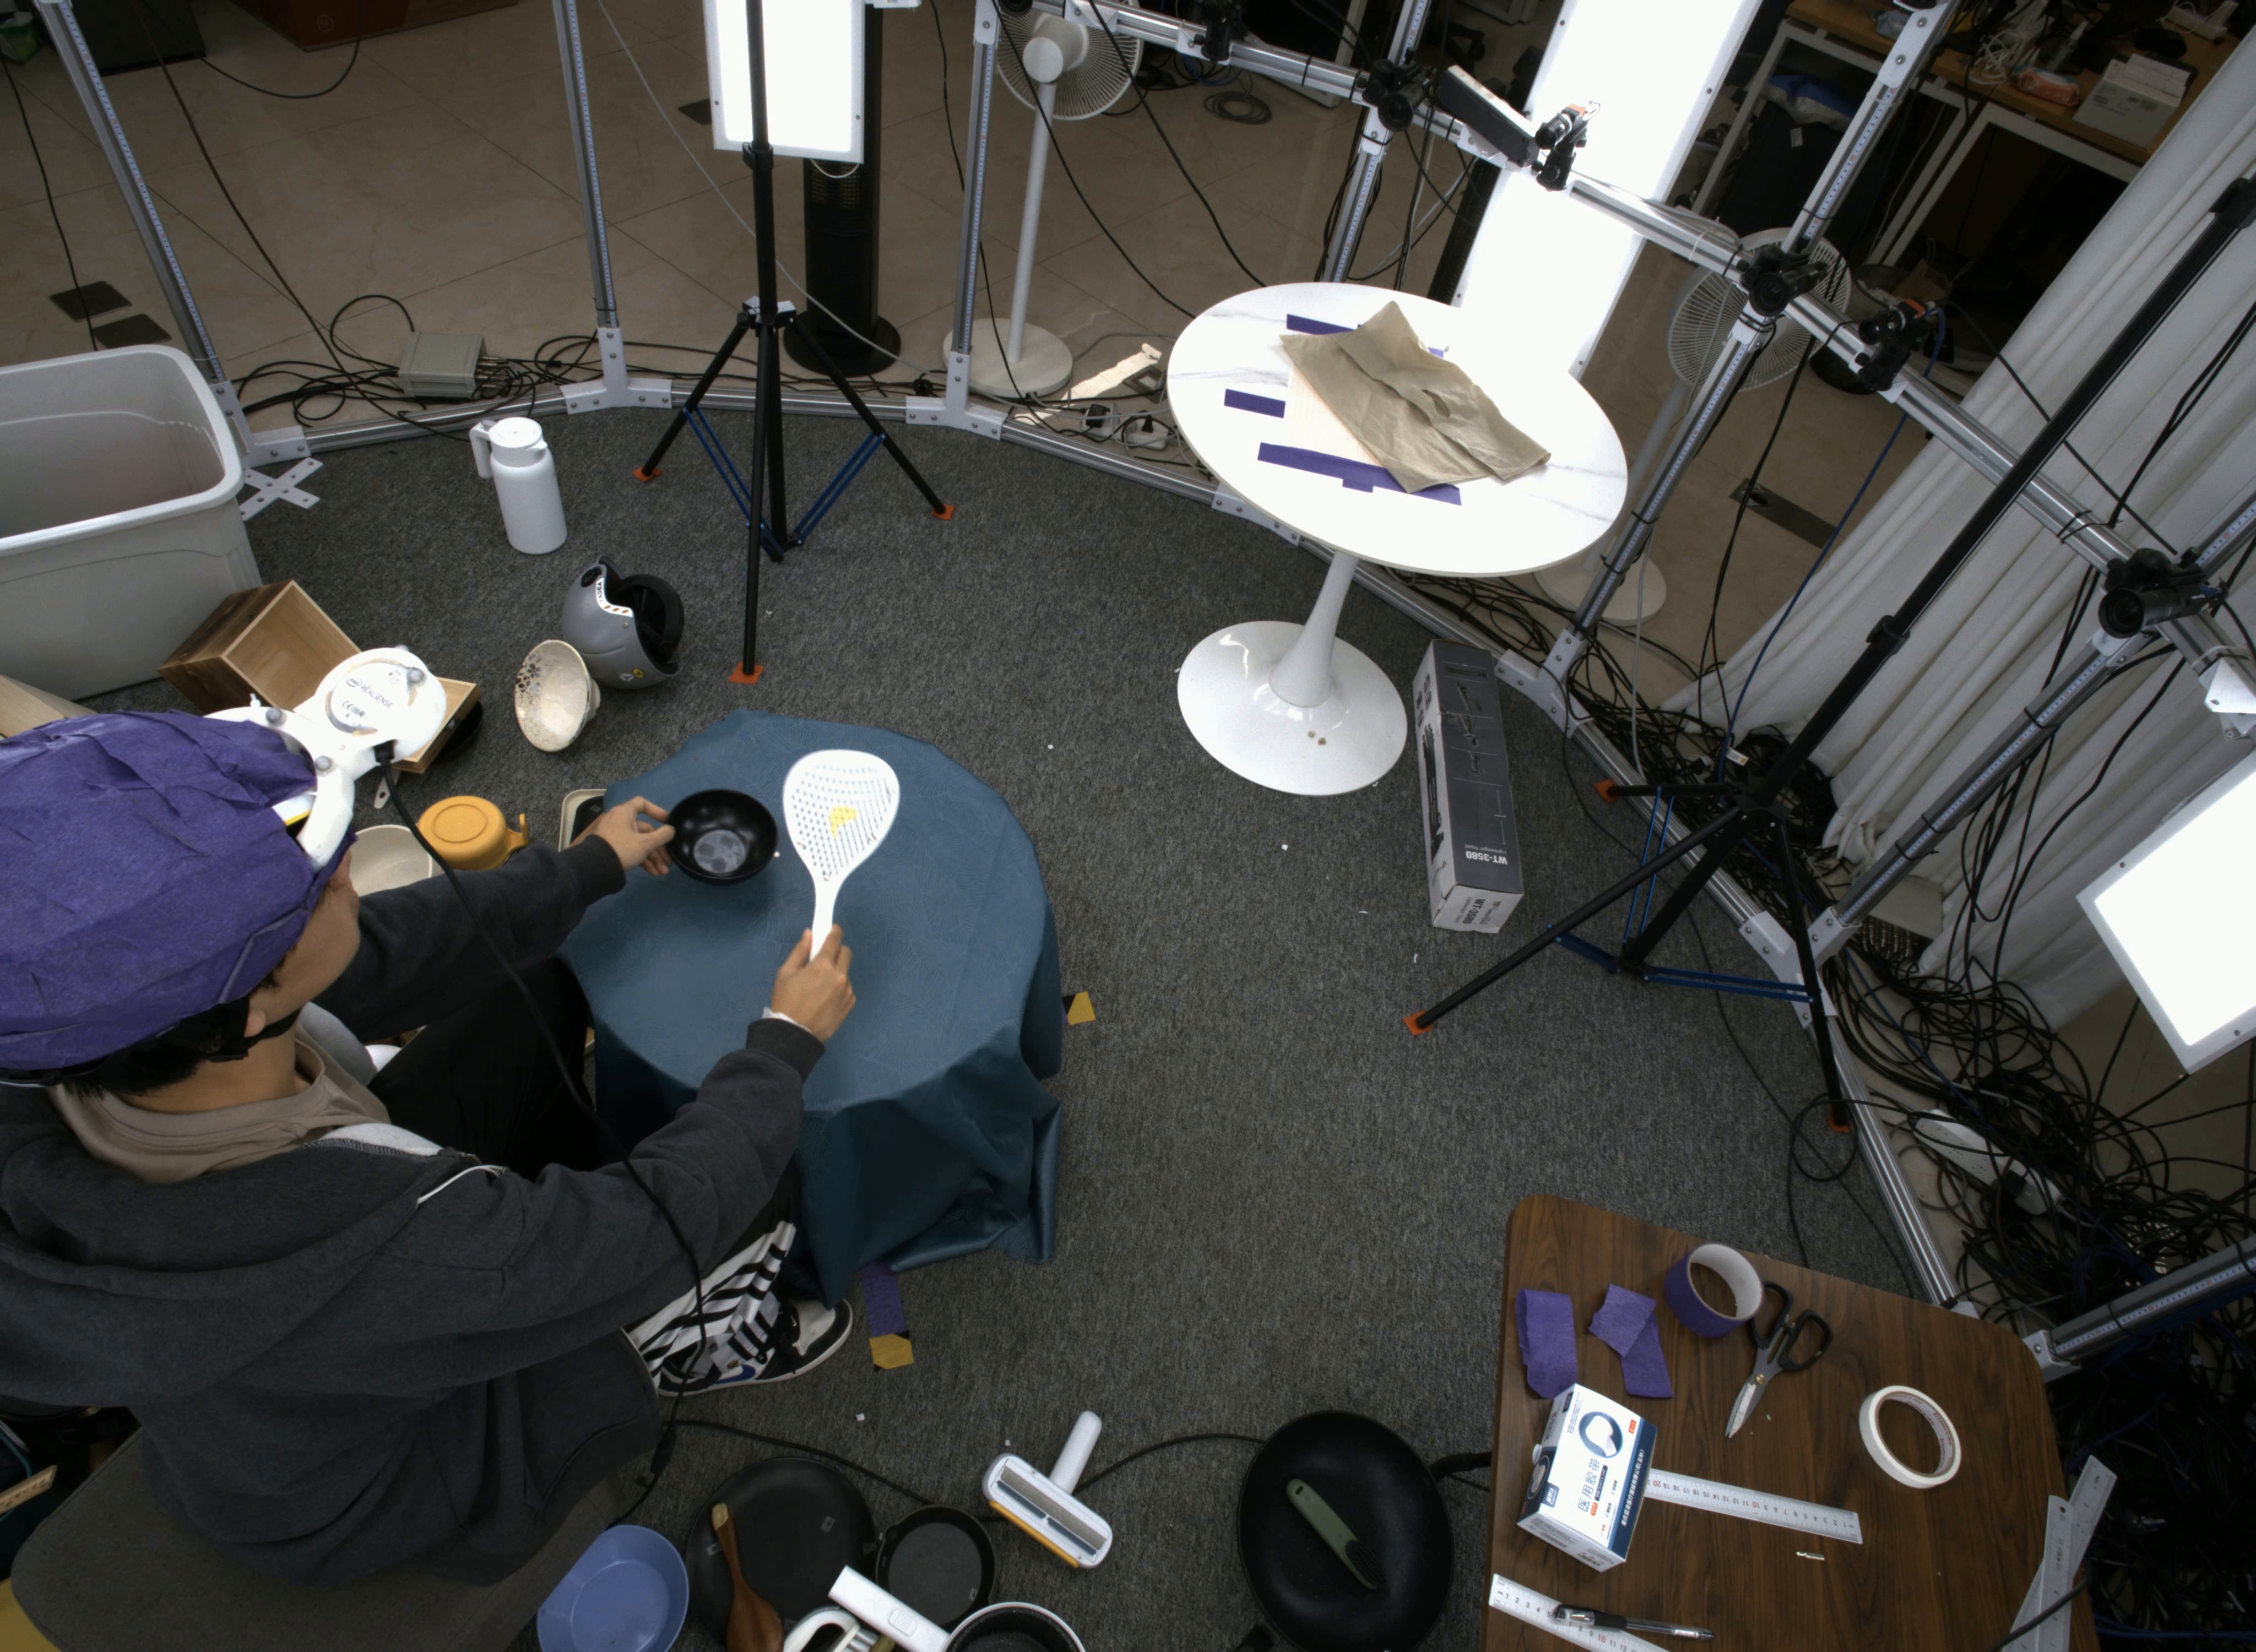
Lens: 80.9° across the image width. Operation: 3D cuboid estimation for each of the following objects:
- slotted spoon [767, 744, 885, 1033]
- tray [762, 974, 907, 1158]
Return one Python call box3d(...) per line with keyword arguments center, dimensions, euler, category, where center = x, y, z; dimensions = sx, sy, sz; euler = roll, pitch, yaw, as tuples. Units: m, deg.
box3d(center=(-0.355, 0.063, 1.495), dimensions=(0.136, 0.051, 0.343), euler=(3, 61, -10), category="slotted spoon")
box3d(center=(-0.486, 0.385, 2.135), dimensions=(0.192, 0.028, 0.293), euler=(-8, 56, -20), category="tray")
